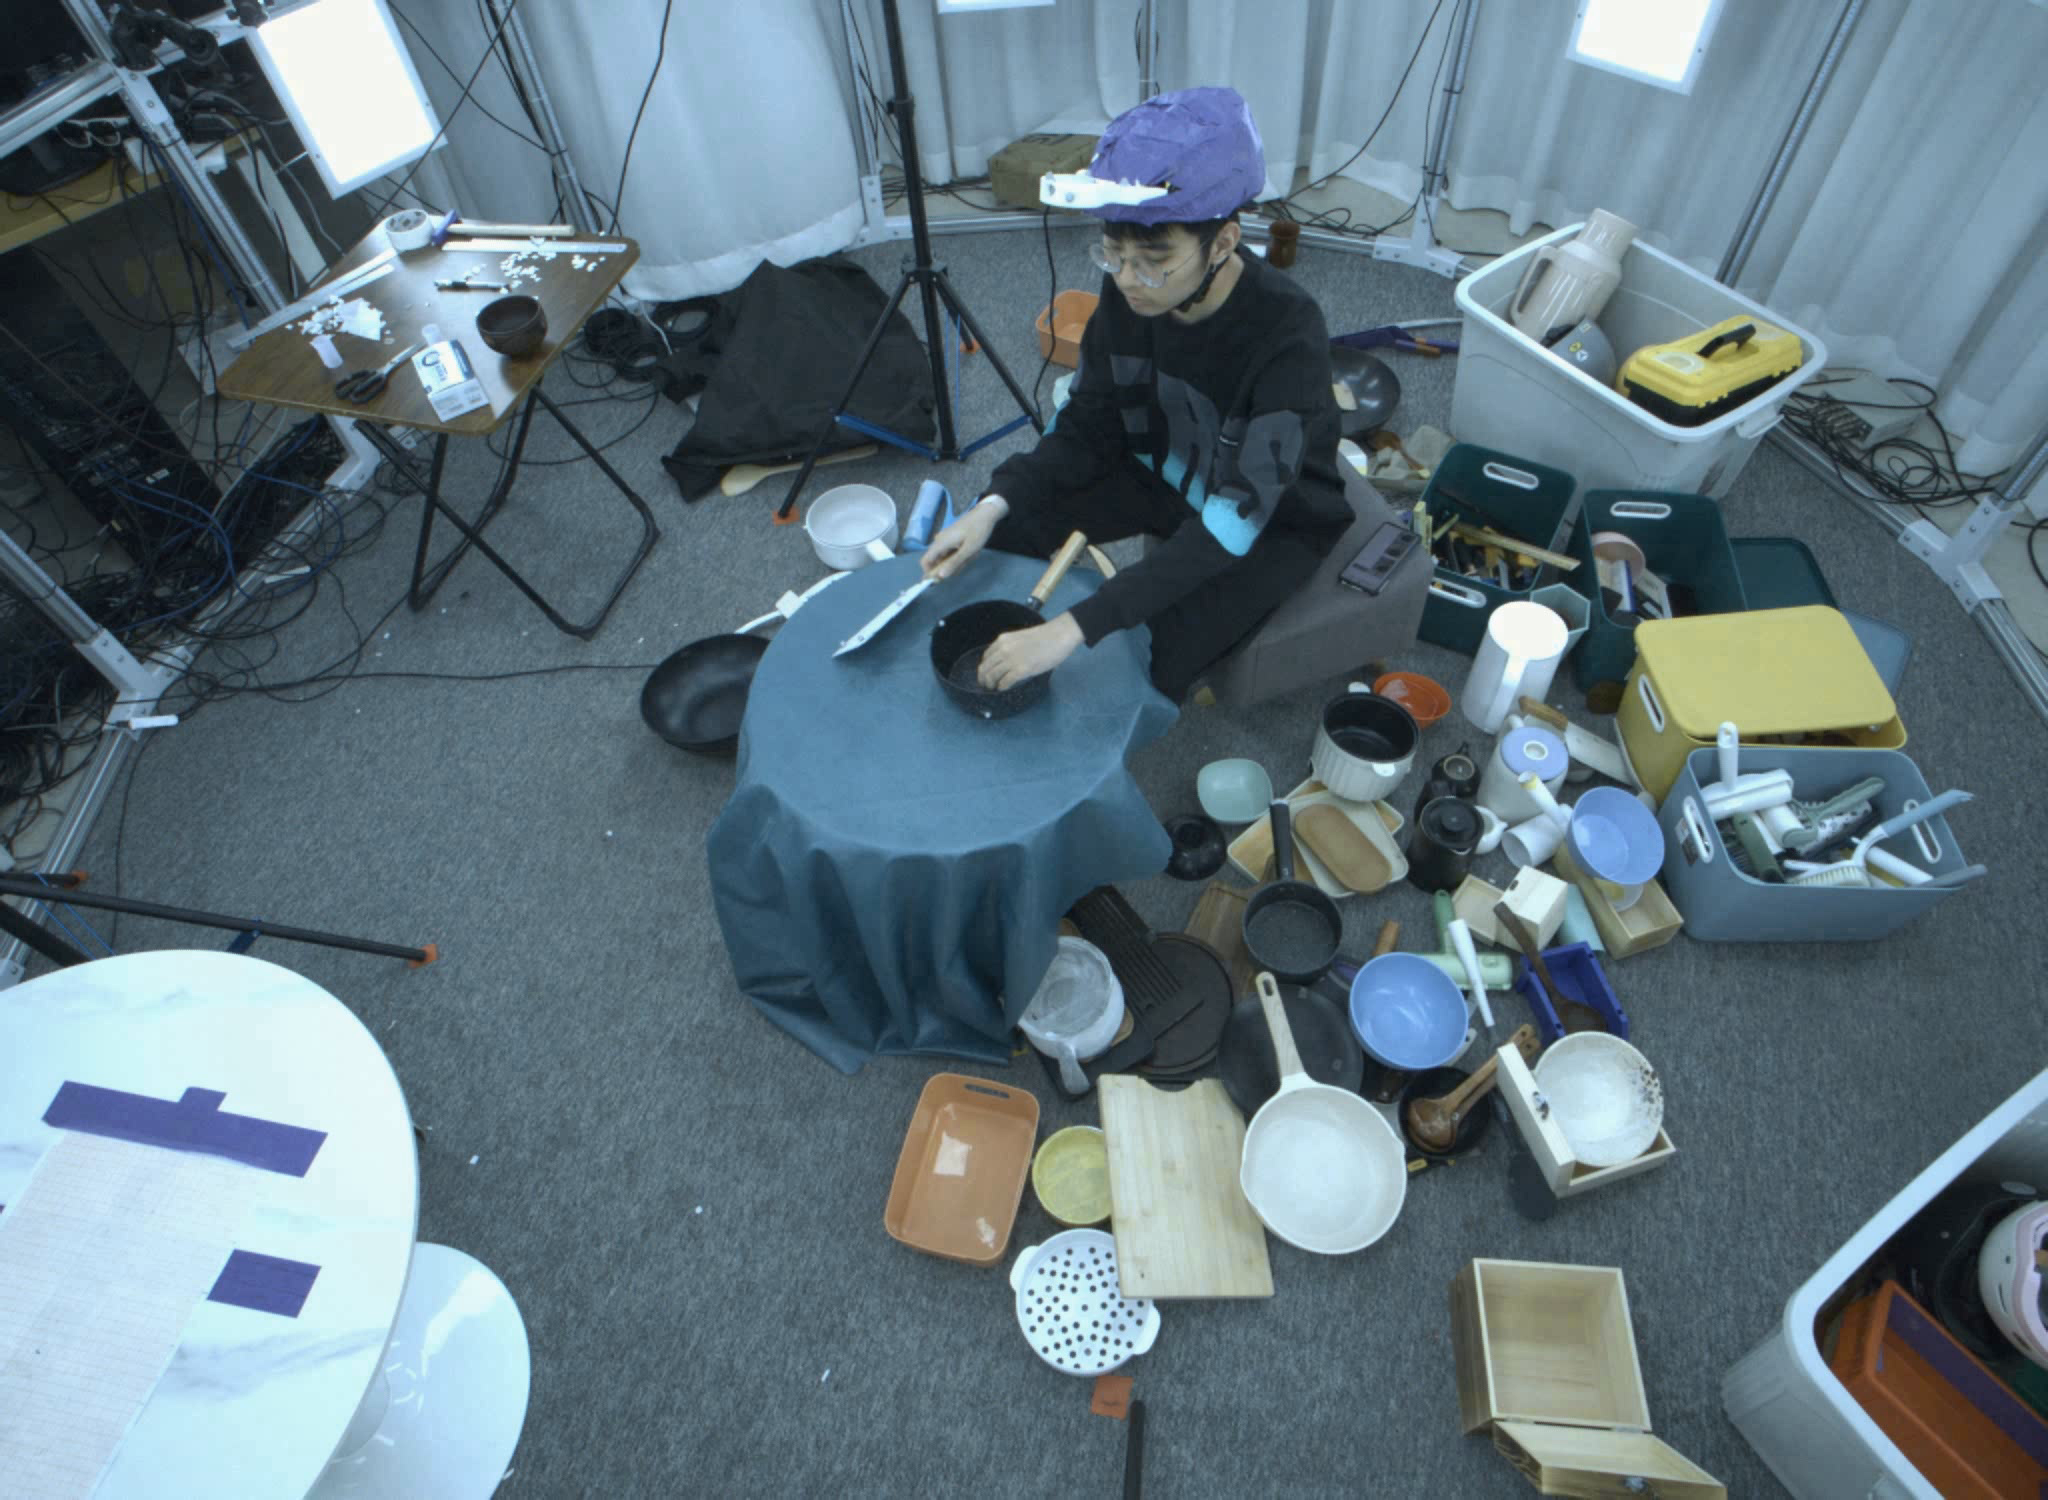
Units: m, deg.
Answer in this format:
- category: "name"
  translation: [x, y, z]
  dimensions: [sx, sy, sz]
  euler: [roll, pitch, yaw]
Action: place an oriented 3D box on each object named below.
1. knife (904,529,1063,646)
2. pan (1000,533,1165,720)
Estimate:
- category: "knife"
  translation: [-0.057, -0.255, 1.923]
  dimensions: [0.317, 0.112, 0.022]
  euler: [-40, 108, -23]
- category: "pan"
  translation: [0.107, -0.189, 1.849]
  dimensions: [0.204, 0.109, 0.344]
  euler: [29, 62, 22]
